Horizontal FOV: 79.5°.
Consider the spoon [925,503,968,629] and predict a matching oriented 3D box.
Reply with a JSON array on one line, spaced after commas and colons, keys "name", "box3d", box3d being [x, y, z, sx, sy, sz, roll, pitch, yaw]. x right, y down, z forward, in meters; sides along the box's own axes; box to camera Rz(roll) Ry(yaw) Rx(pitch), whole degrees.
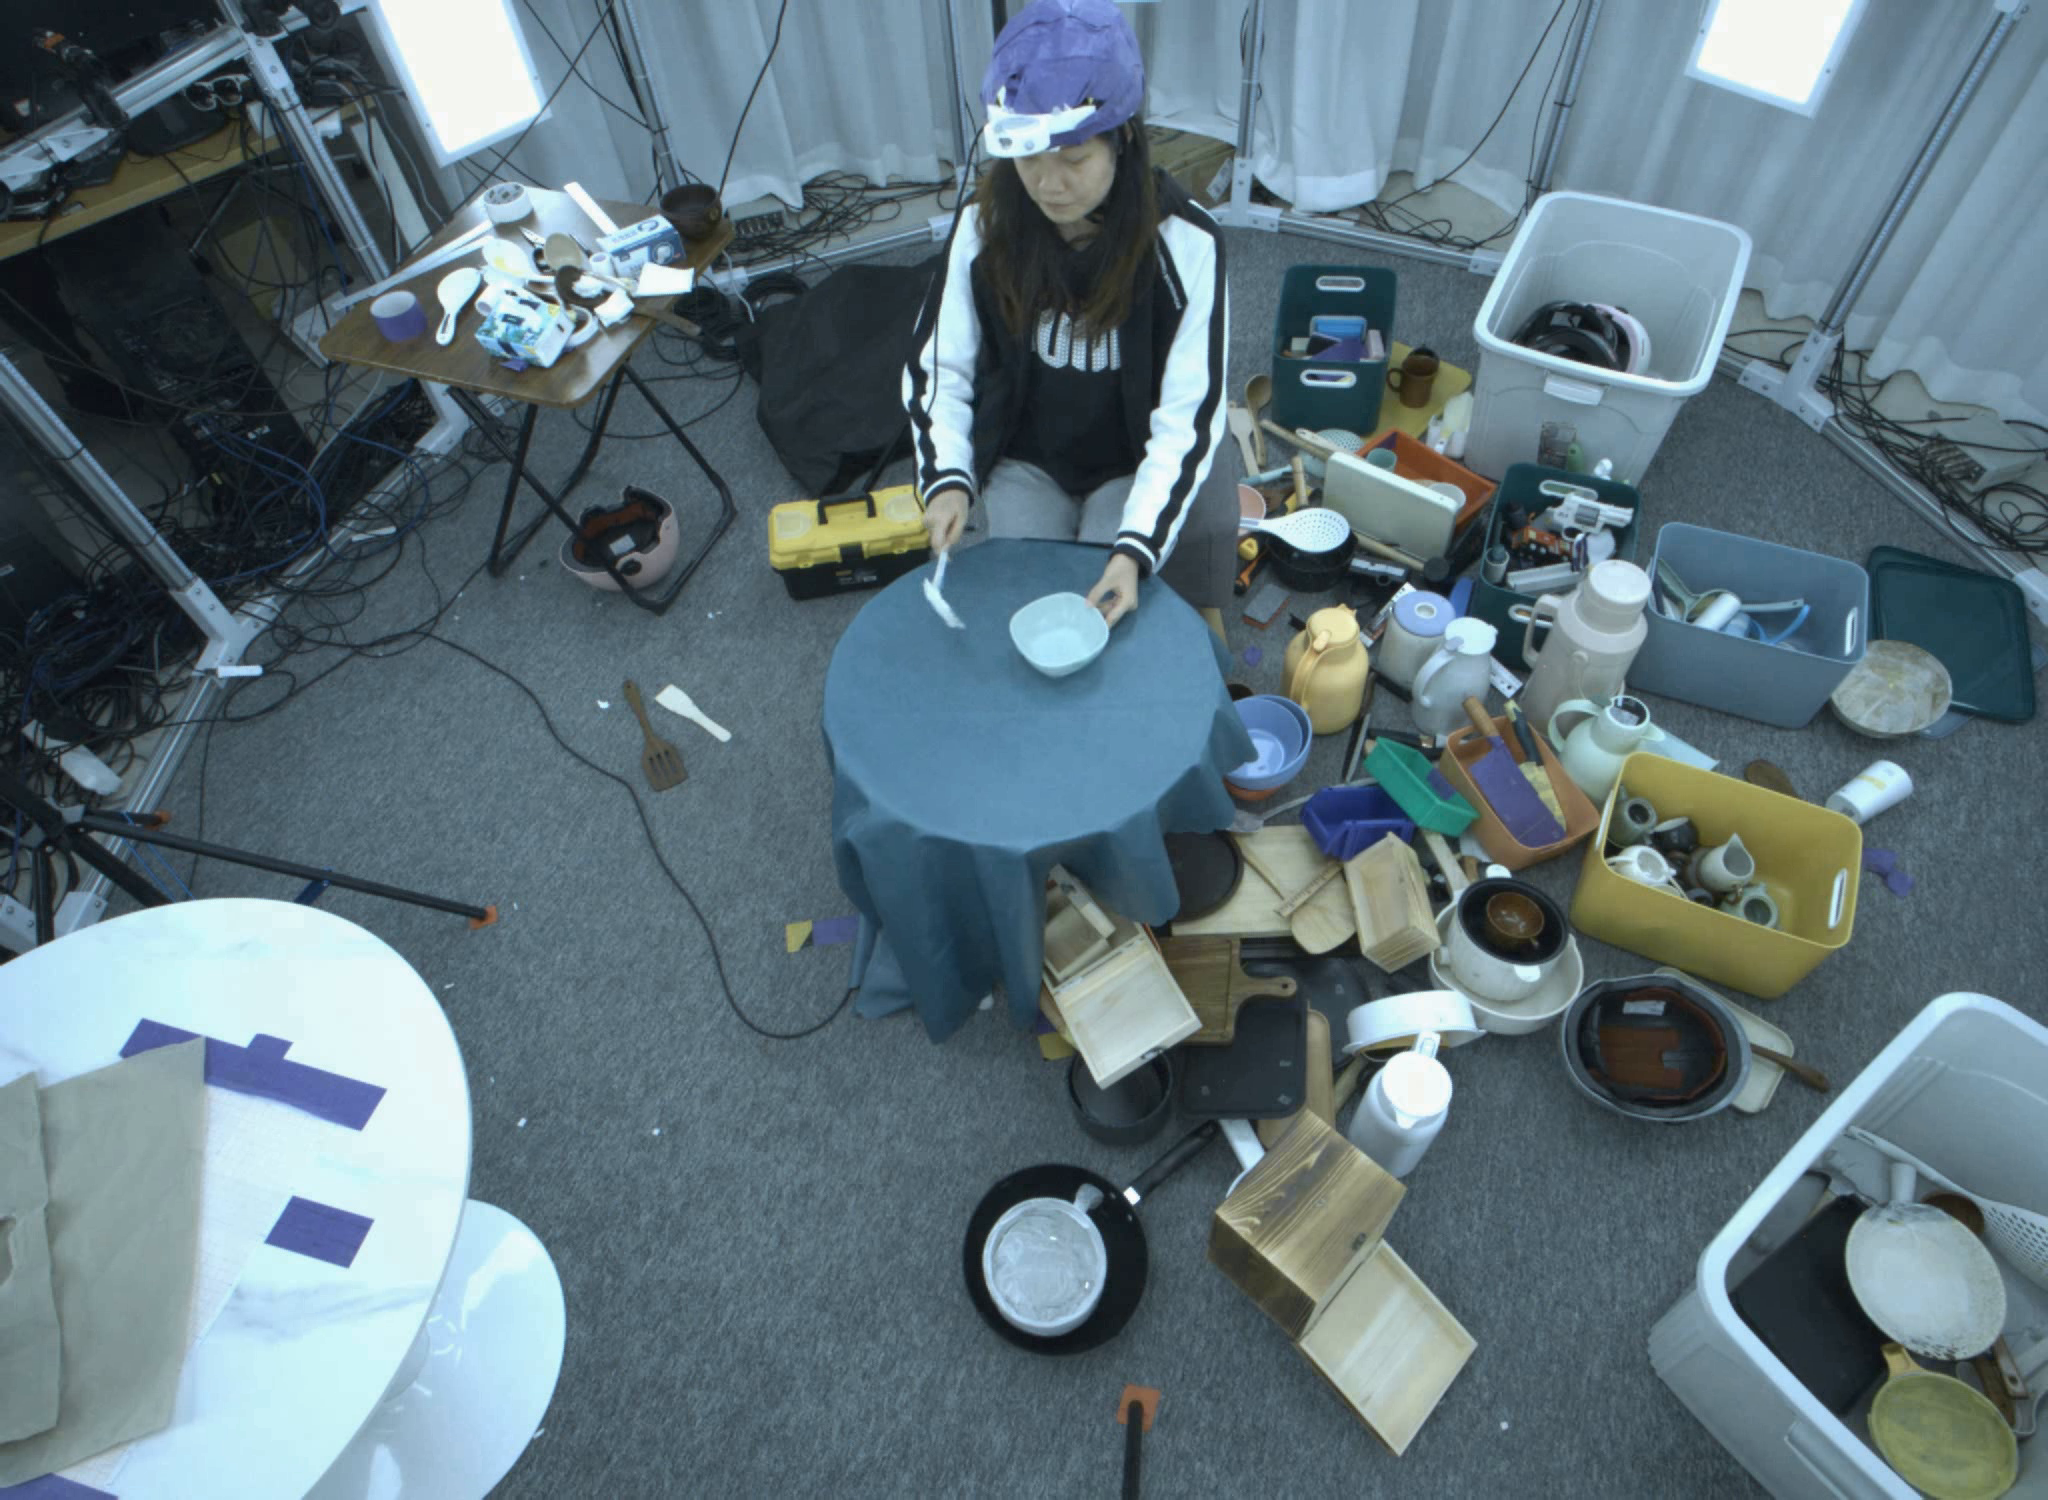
[{"name": "spoon", "box3d": [-0.099, -0.291, 1.870, 0.058, 0.103, 0.275, -10, 46, 26]}]

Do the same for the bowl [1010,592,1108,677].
[{"name": "bowl", "box3d": [0.053, -0.166, 1.871, 0.151, 0.059, 0.150, 0, 55, 2]}]
